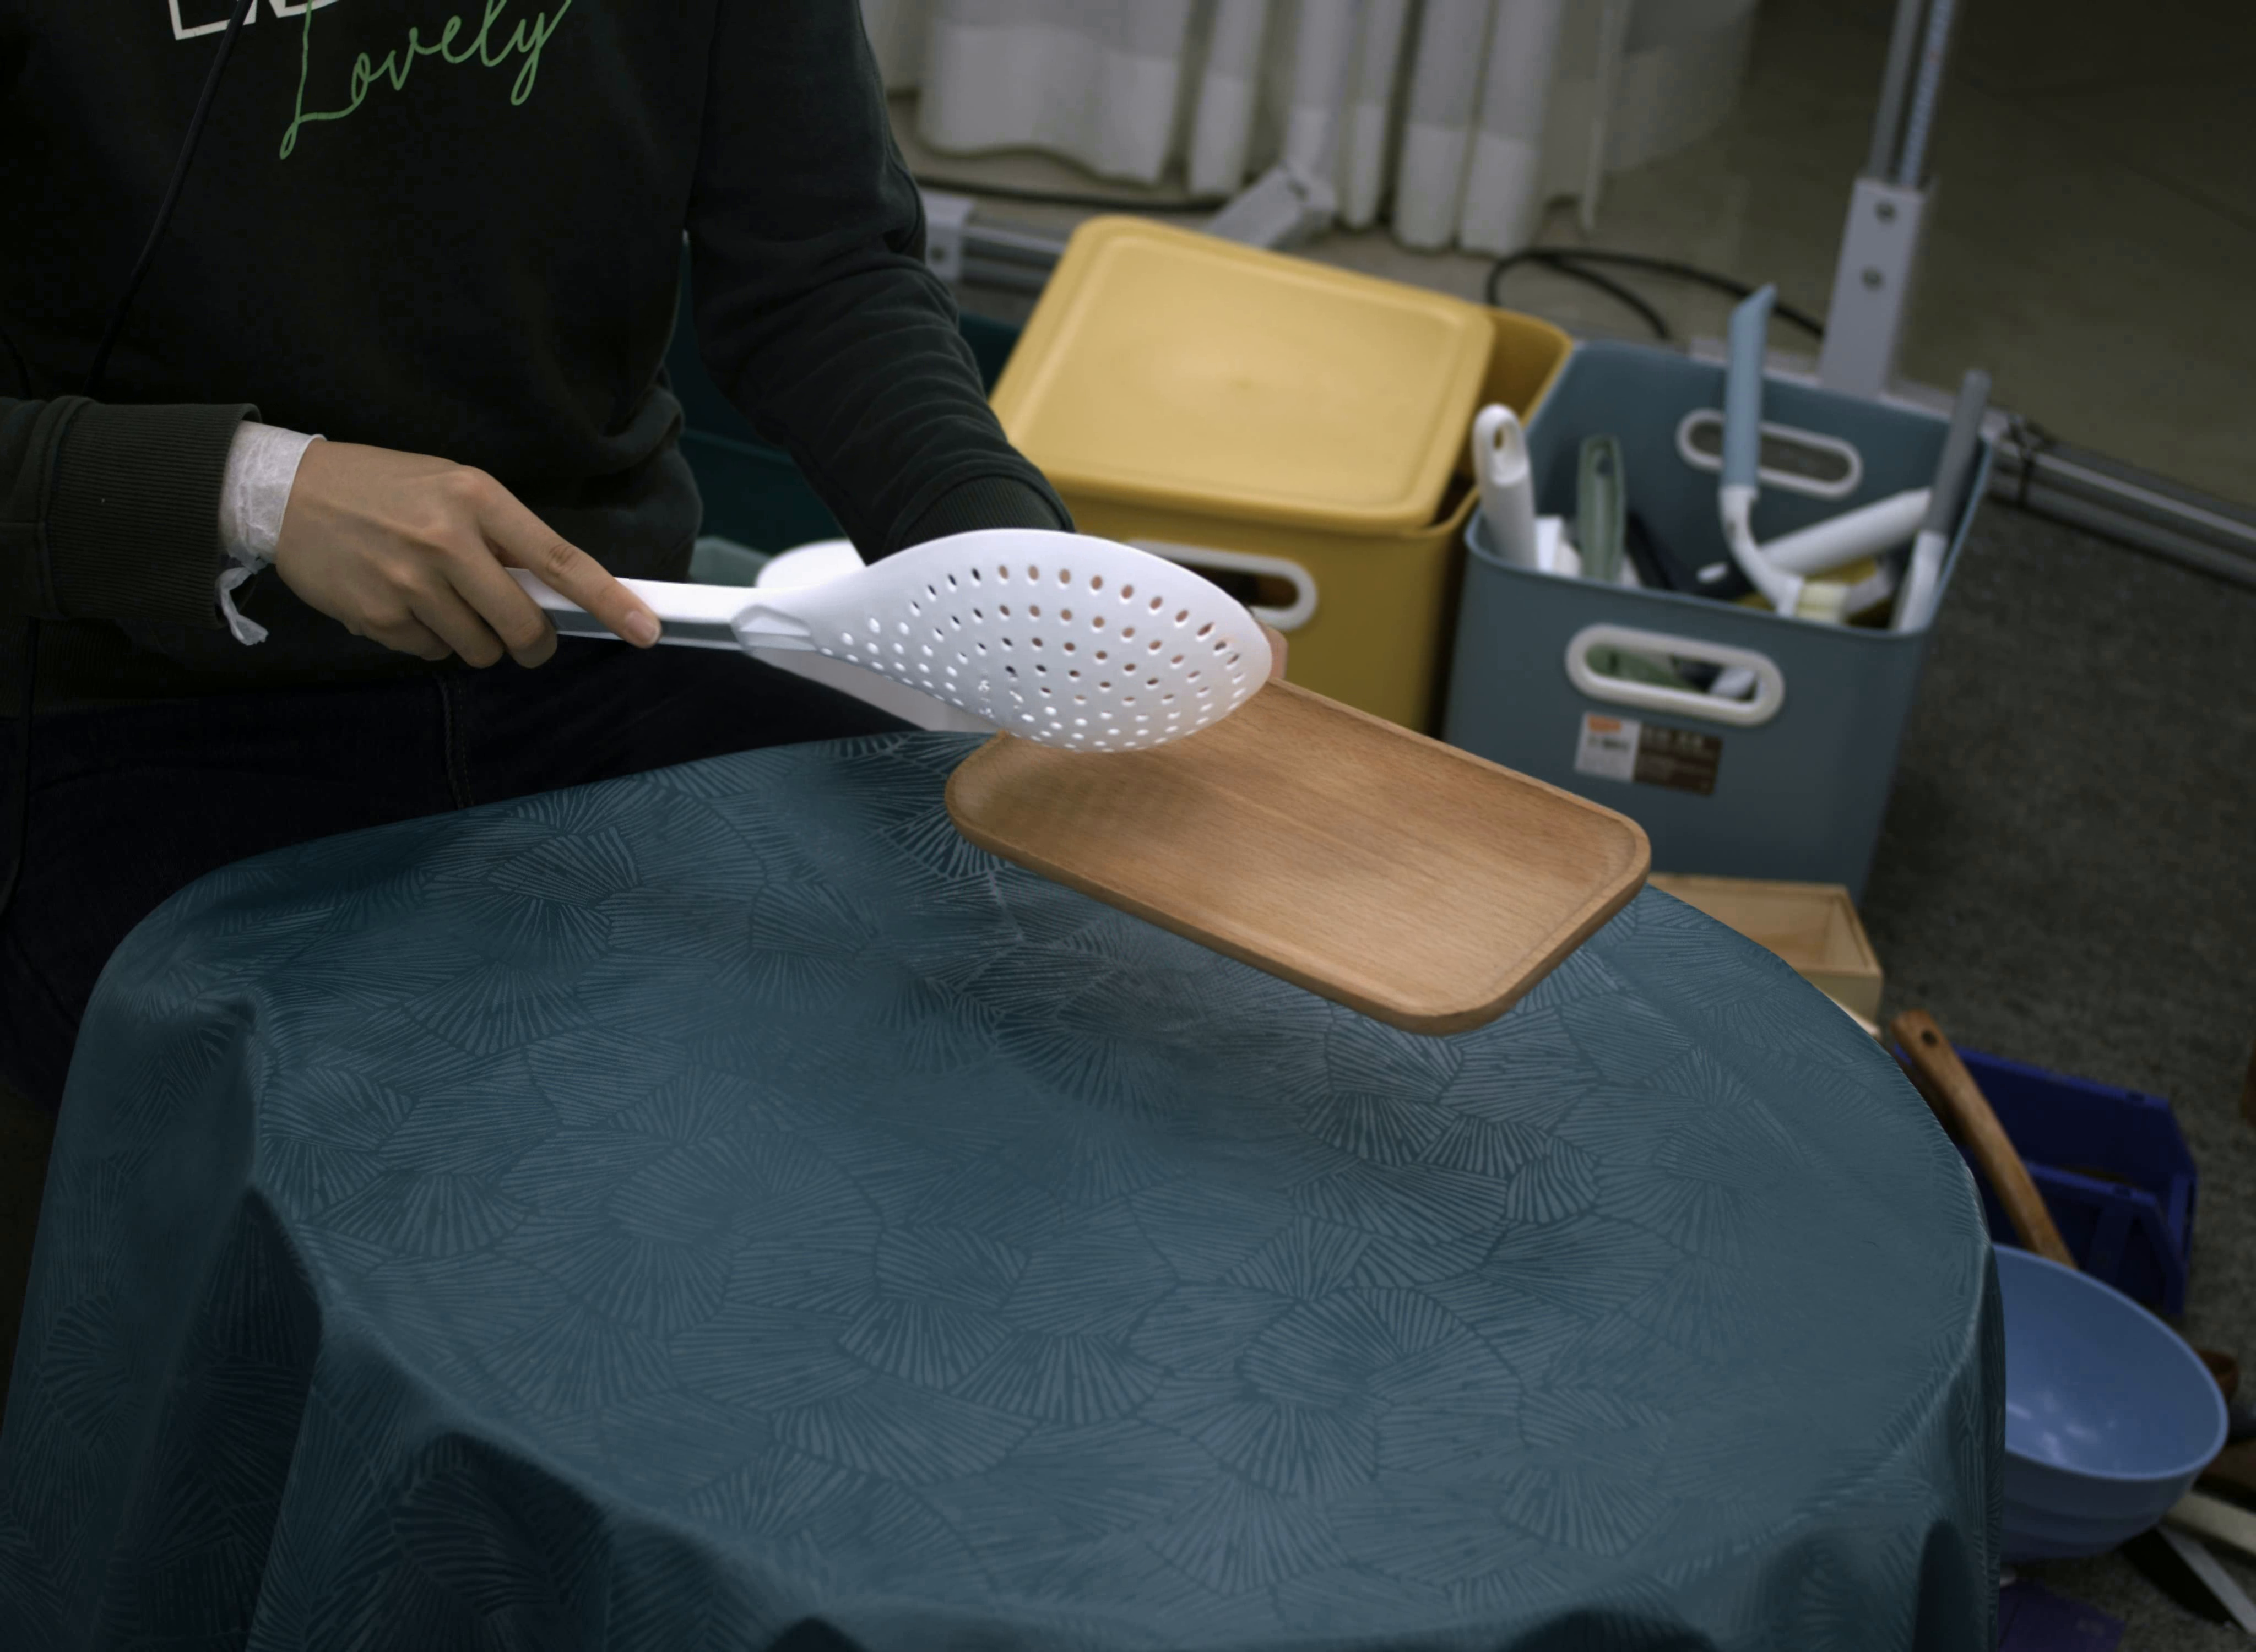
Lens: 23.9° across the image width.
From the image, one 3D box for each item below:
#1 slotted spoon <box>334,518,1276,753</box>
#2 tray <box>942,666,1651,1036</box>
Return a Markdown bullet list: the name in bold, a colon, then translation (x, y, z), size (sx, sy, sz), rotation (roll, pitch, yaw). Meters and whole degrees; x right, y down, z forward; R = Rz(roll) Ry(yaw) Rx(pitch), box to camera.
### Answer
- **slotted spoon**: translation (-0.120, -0.073, 1.887), size (0.350, 0.135, 0.046), rotation (9, 64, 19)
- **tray**: translation (0.057, 0.002, 1.865), size (0.252, 0.023, 0.130), rotation (22, 45, 38)
